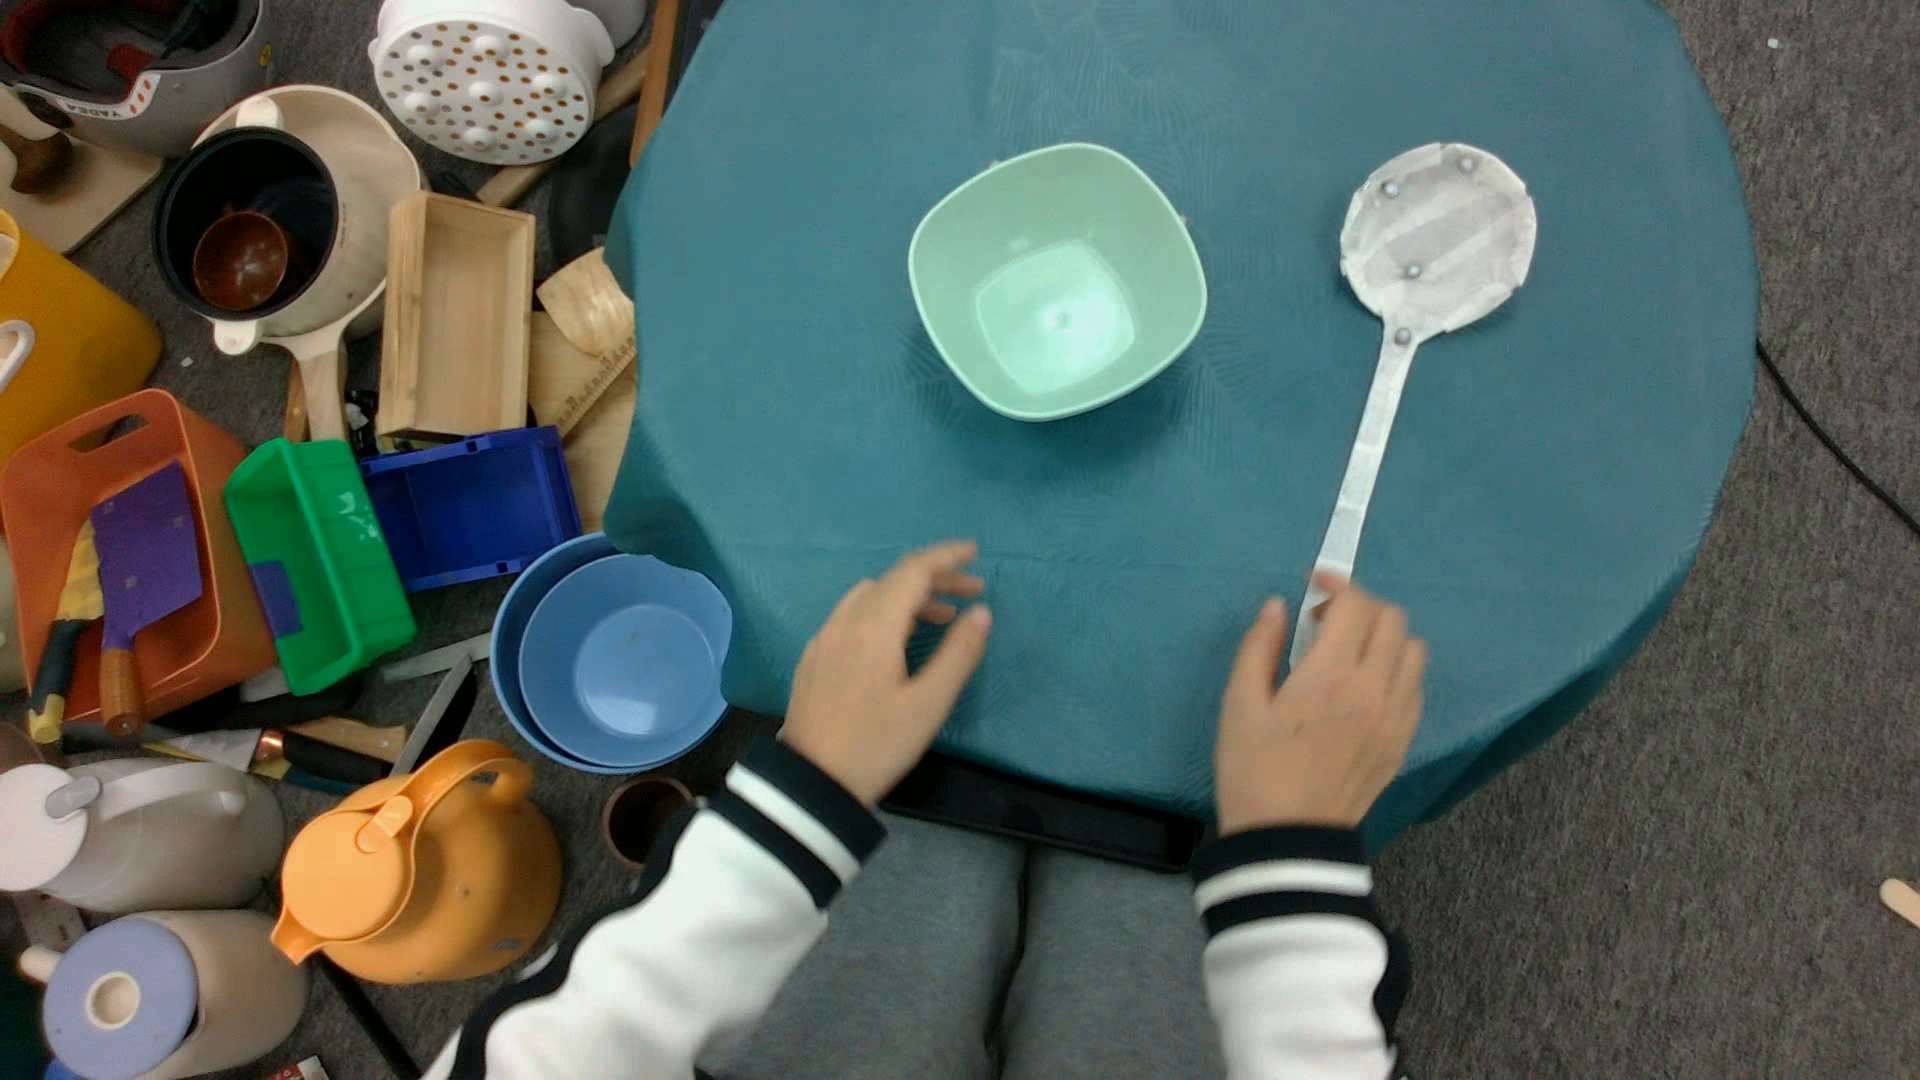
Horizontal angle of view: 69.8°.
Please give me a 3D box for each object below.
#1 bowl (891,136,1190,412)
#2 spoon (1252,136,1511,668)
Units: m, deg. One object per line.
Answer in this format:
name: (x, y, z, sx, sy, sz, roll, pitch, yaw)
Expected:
bowl: (0.041, -0.128, 0.710, 0.151, 0.058, 0.152, -1, 75, 2)
spoon: (0.193, -0.071, 0.687, 0.100, 0.059, 0.278, 20, 77, 12)
